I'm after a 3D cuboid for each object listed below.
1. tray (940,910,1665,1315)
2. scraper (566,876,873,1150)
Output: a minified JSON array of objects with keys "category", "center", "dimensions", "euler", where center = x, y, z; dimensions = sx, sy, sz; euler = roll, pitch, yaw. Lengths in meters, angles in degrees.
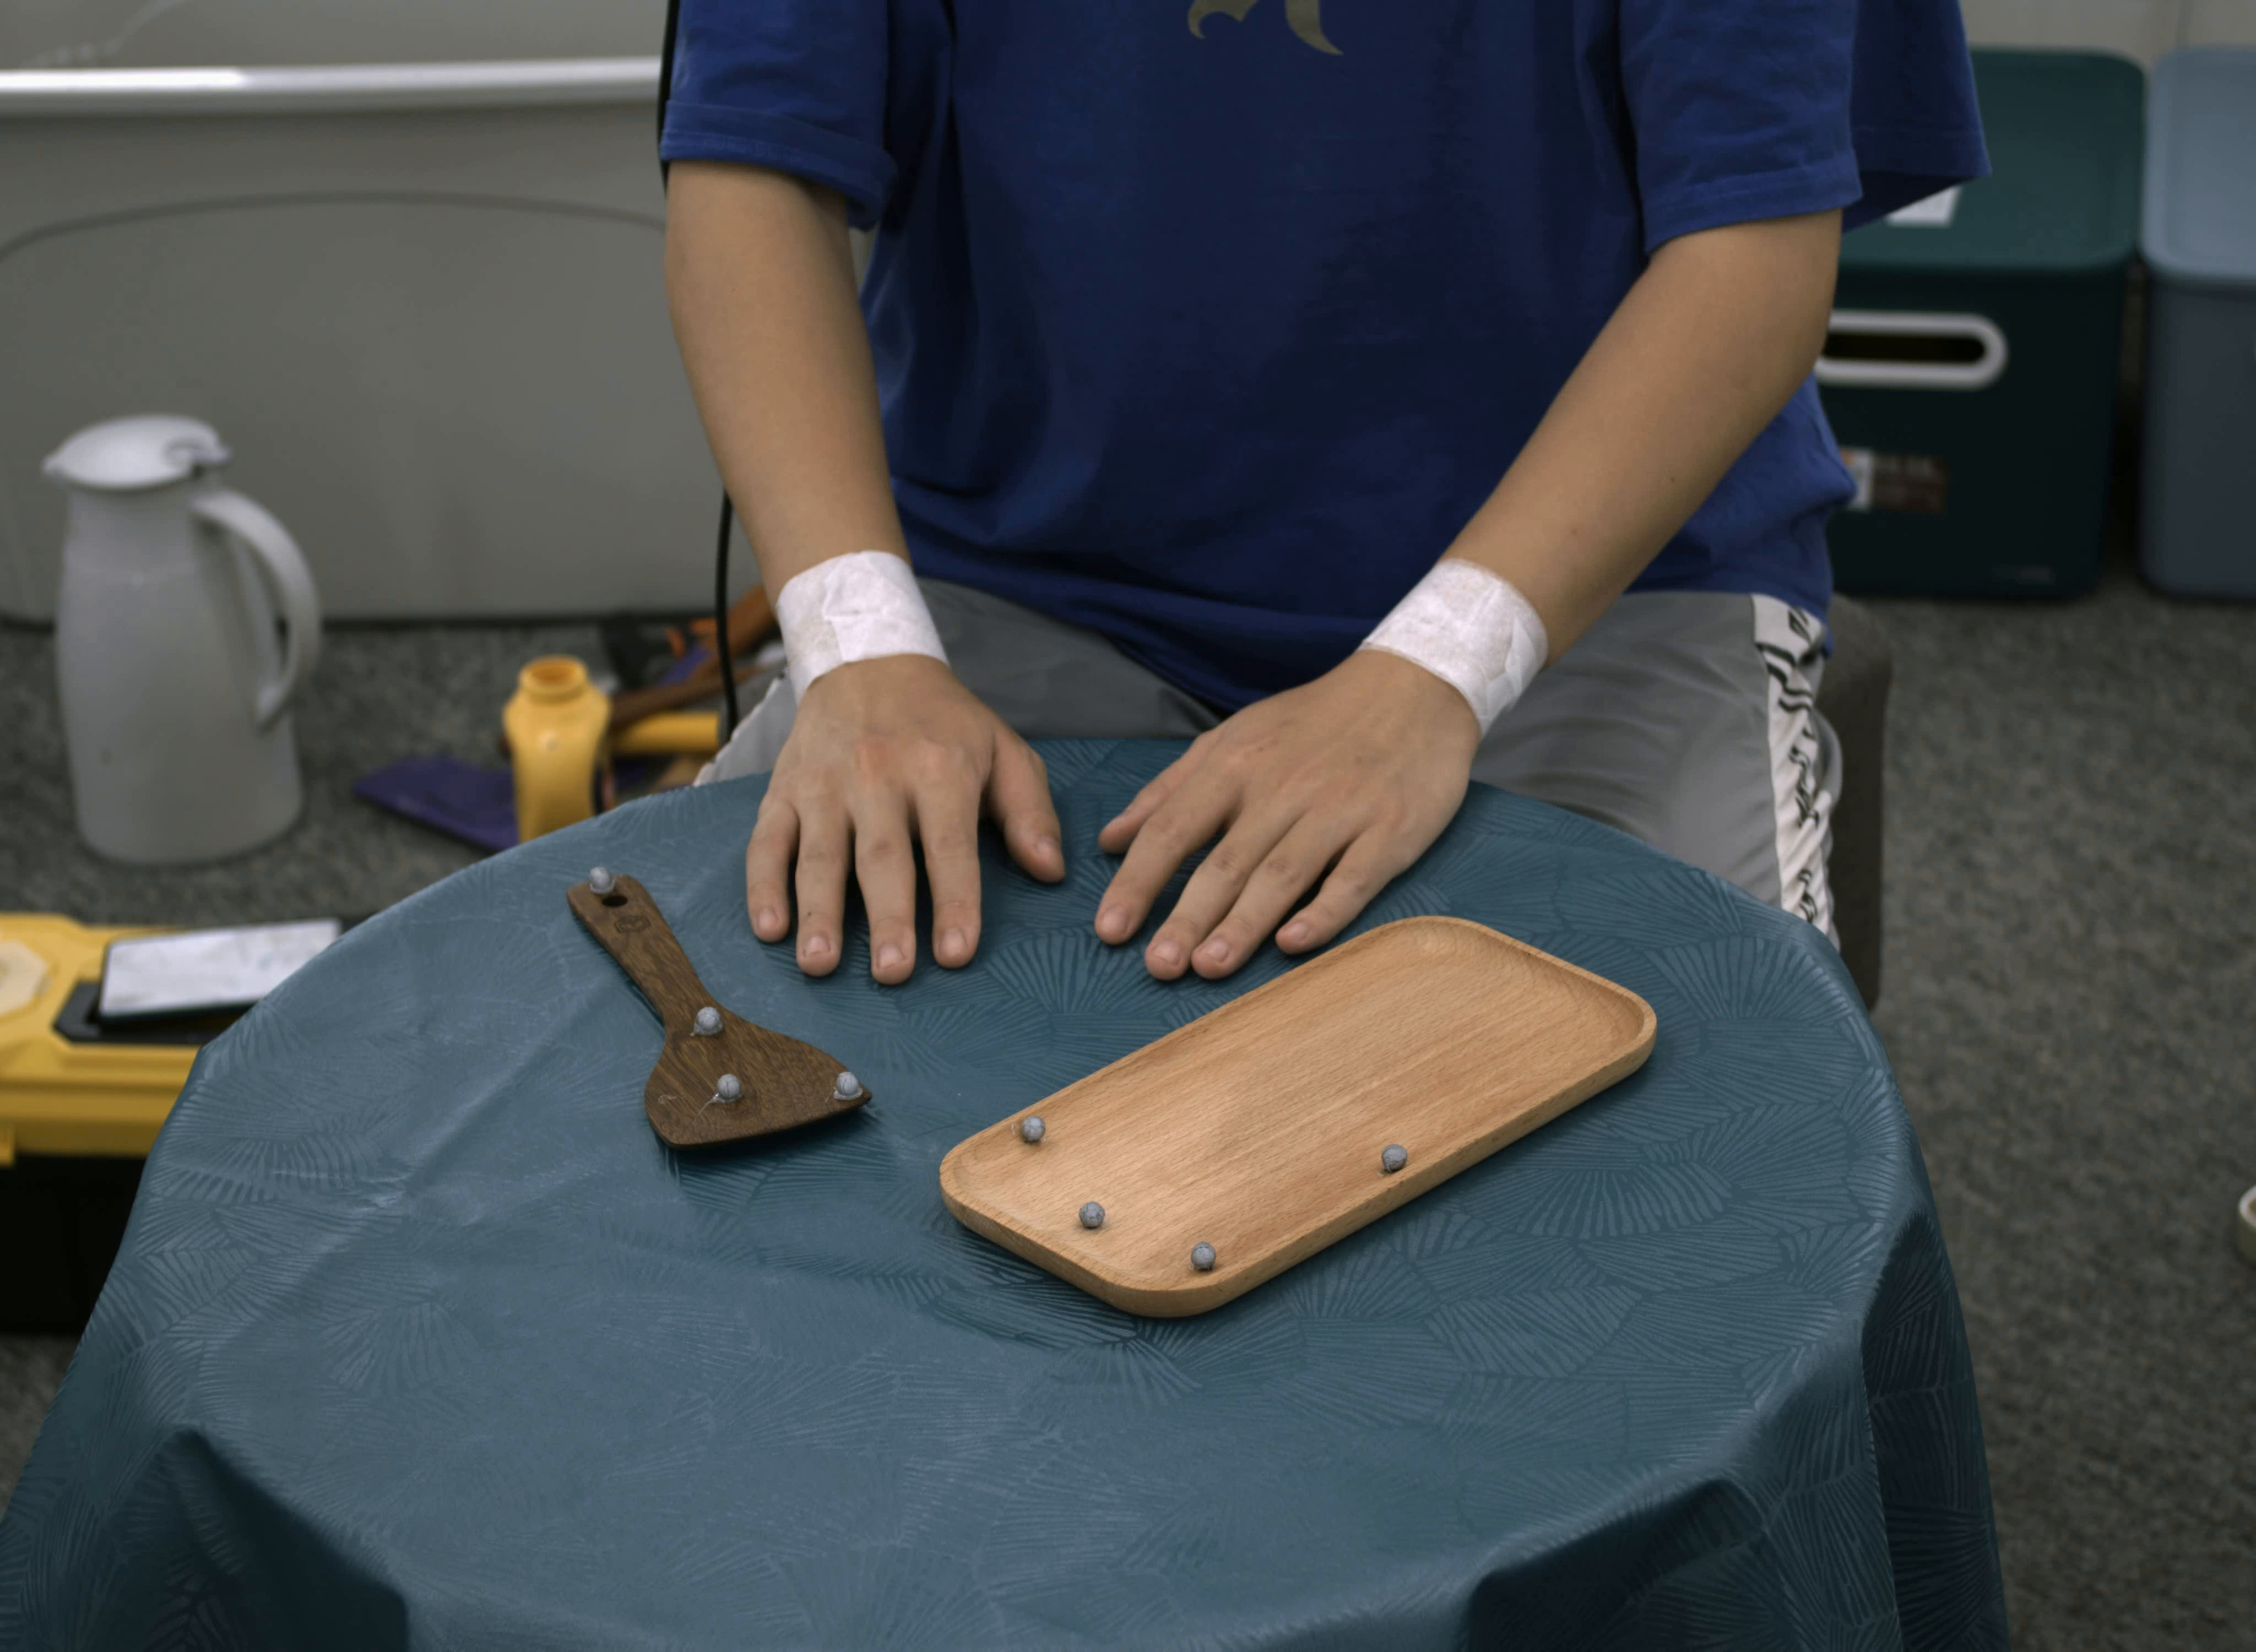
[{"category":"tray","center":[0.060,0.094,1.889],"dimensions":[0.253,0.022,0.130],"euler":[-24,37,-36]},{"category":"scraper","center":[-0.156,0.064,1.979],"dimensions":[0.076,0.011,0.213],"euler":[-12,28,-19]}]
